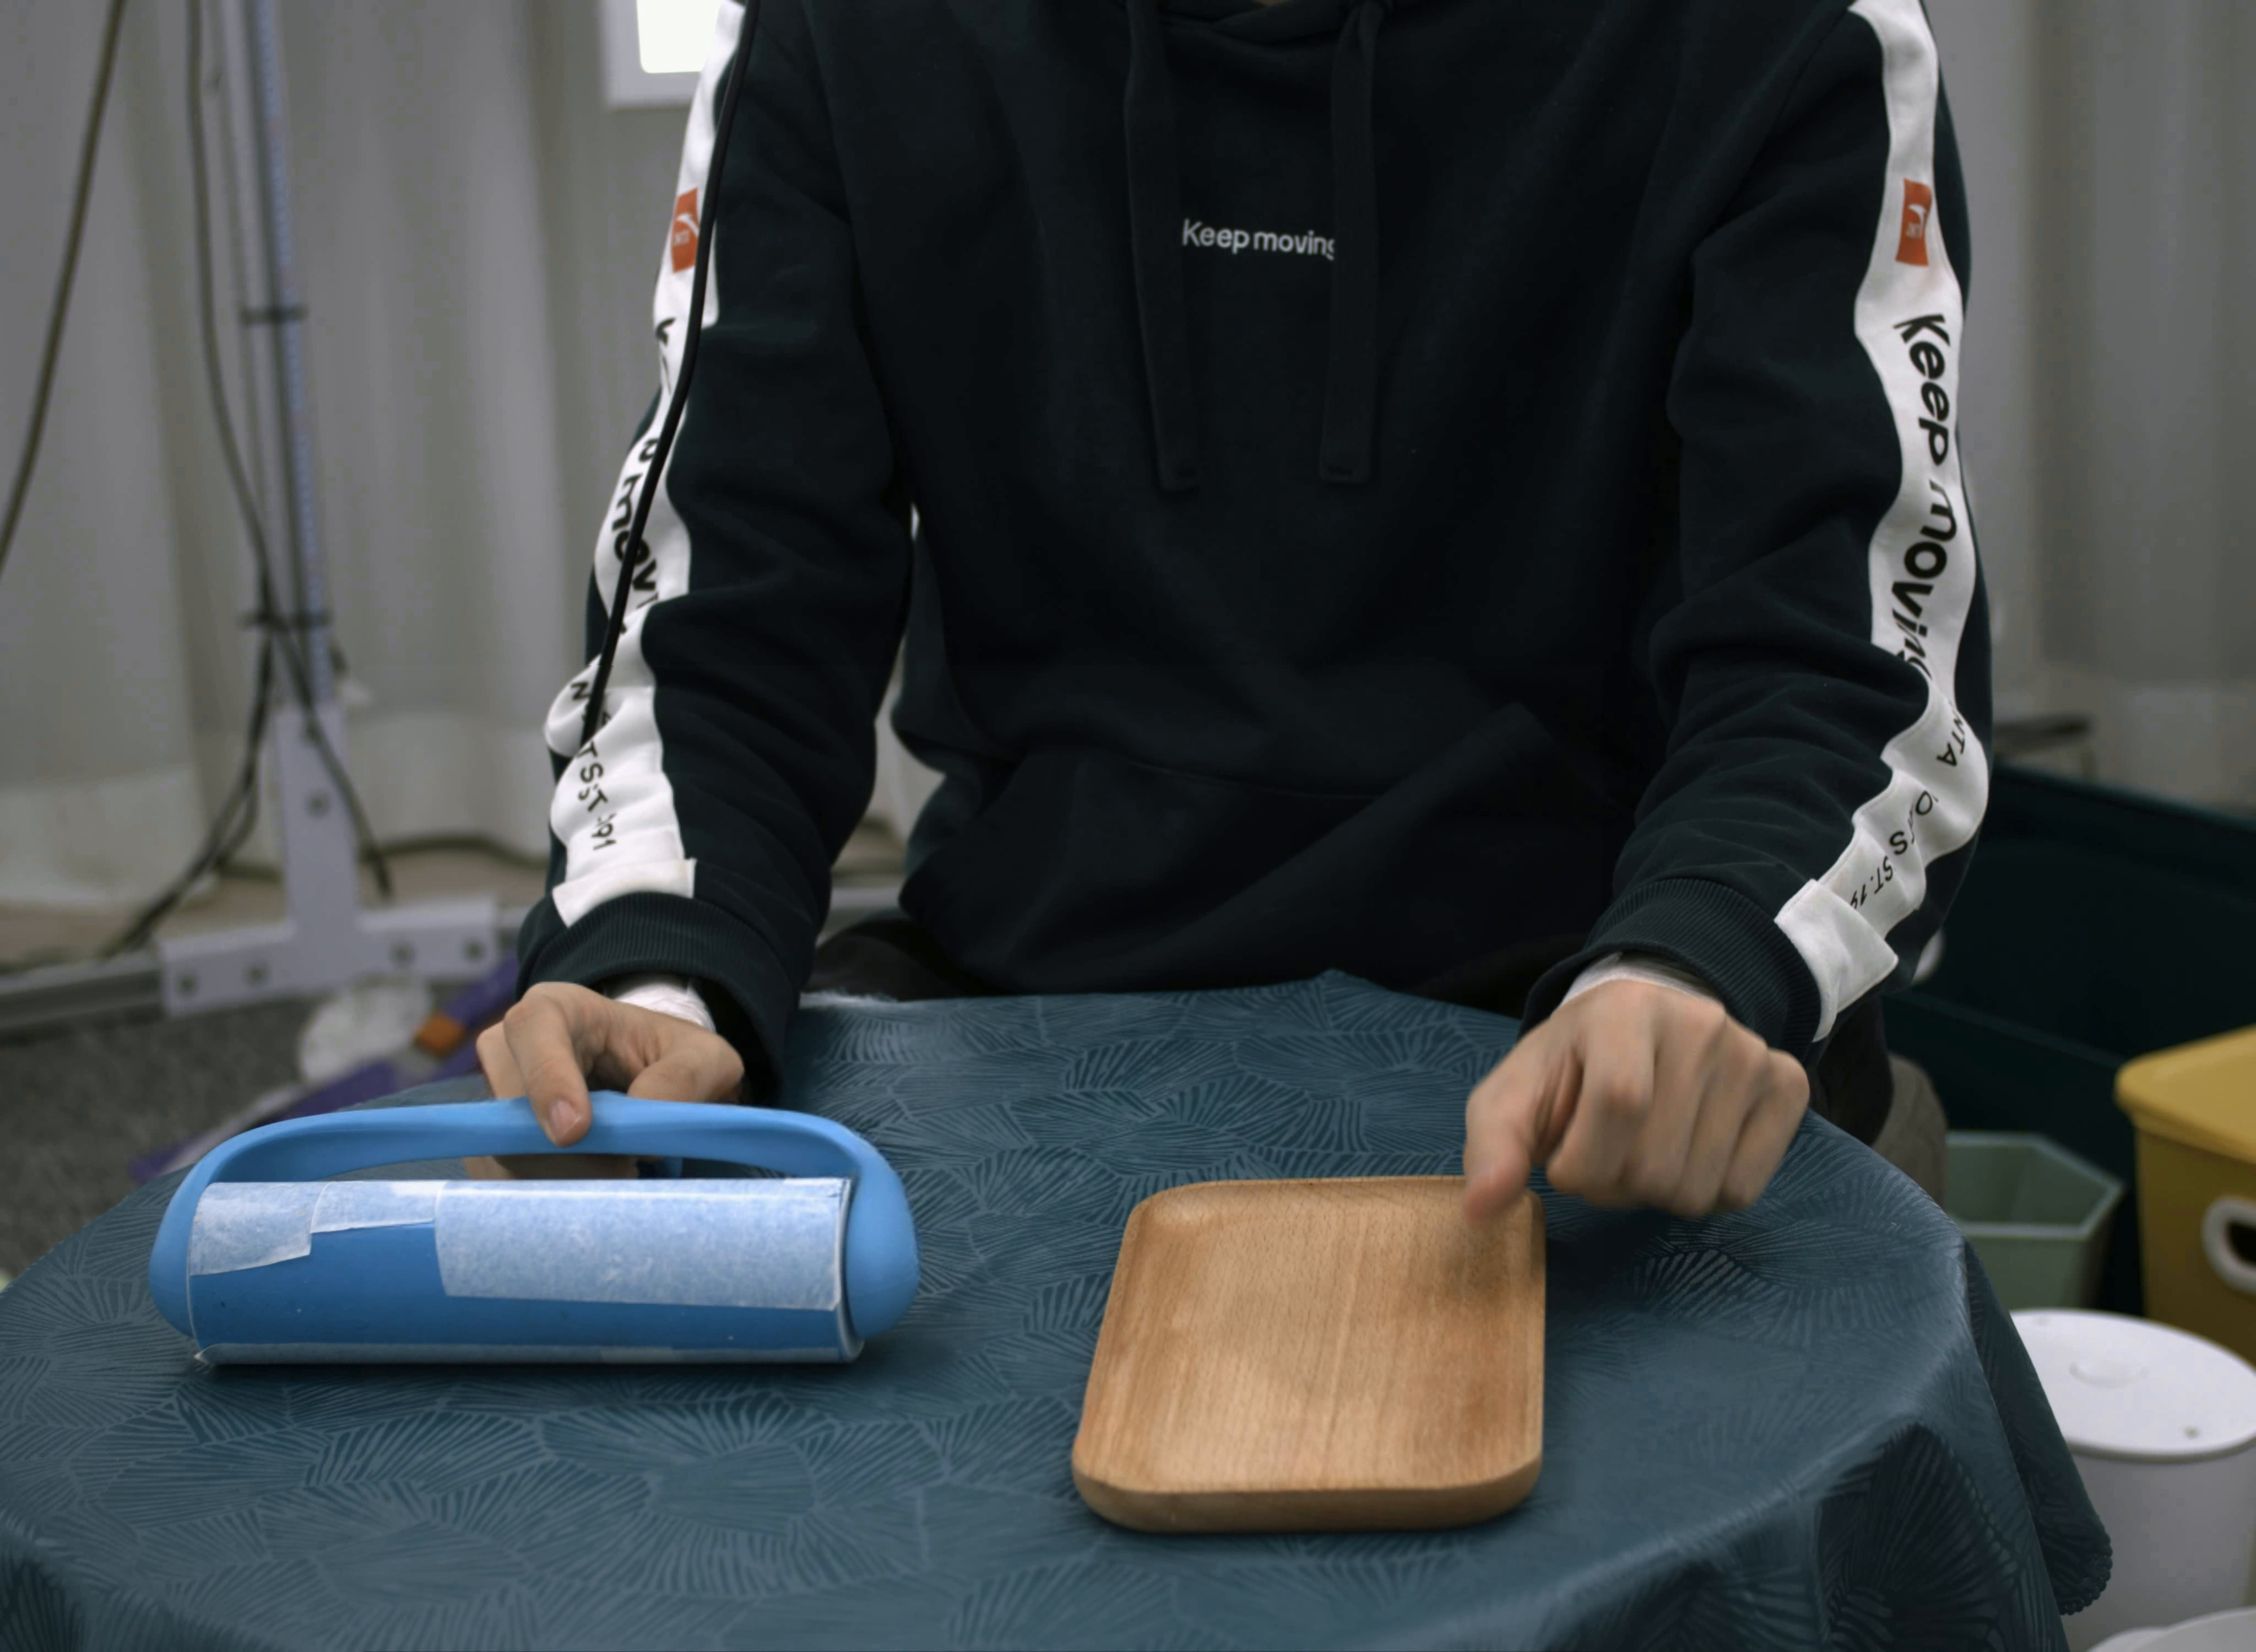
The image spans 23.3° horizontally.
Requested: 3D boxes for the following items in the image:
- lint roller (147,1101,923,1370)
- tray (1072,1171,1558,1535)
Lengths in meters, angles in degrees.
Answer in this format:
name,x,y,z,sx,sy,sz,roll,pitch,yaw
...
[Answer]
name,x,y,z,sx,sy,sz,roll,pitch,yaw
lint roller,-0.168,0.113,1.644,0.228,0.067,0.181,-3,15,6
tray,0.057,0.147,1.550,0.130,0.023,0.252,1,15,6
